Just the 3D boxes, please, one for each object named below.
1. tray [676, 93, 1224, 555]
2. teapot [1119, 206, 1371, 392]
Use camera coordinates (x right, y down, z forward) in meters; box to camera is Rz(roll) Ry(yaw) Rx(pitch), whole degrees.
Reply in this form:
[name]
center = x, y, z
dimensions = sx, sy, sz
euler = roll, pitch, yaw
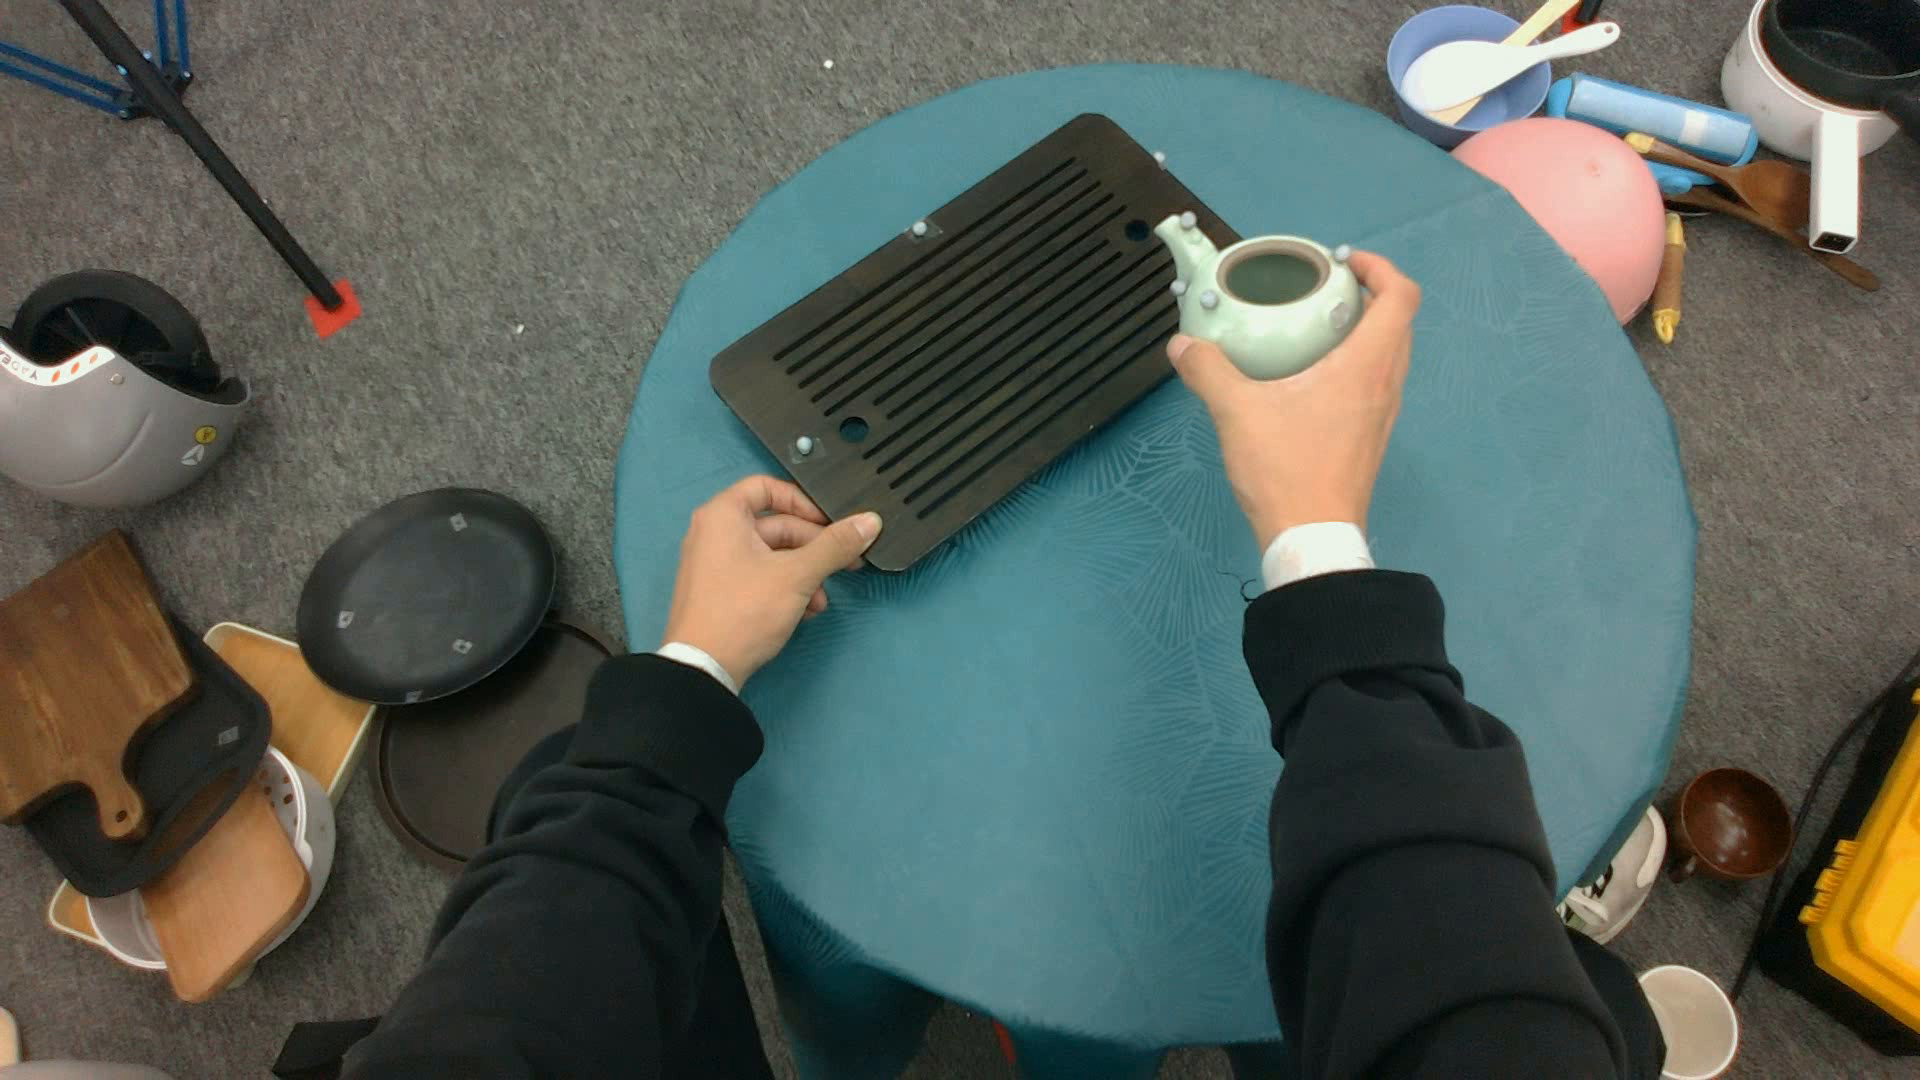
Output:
[tray]
center = 0.005, -0.133, 0.794
dimensions = 0.307, 0.018, 0.170
euler = -37, 73, -18
[teapot]
center = 0.138, -0.115, 0.678
dimensions = 0.088, 0.074, 0.144
euler = -39, 47, -22
